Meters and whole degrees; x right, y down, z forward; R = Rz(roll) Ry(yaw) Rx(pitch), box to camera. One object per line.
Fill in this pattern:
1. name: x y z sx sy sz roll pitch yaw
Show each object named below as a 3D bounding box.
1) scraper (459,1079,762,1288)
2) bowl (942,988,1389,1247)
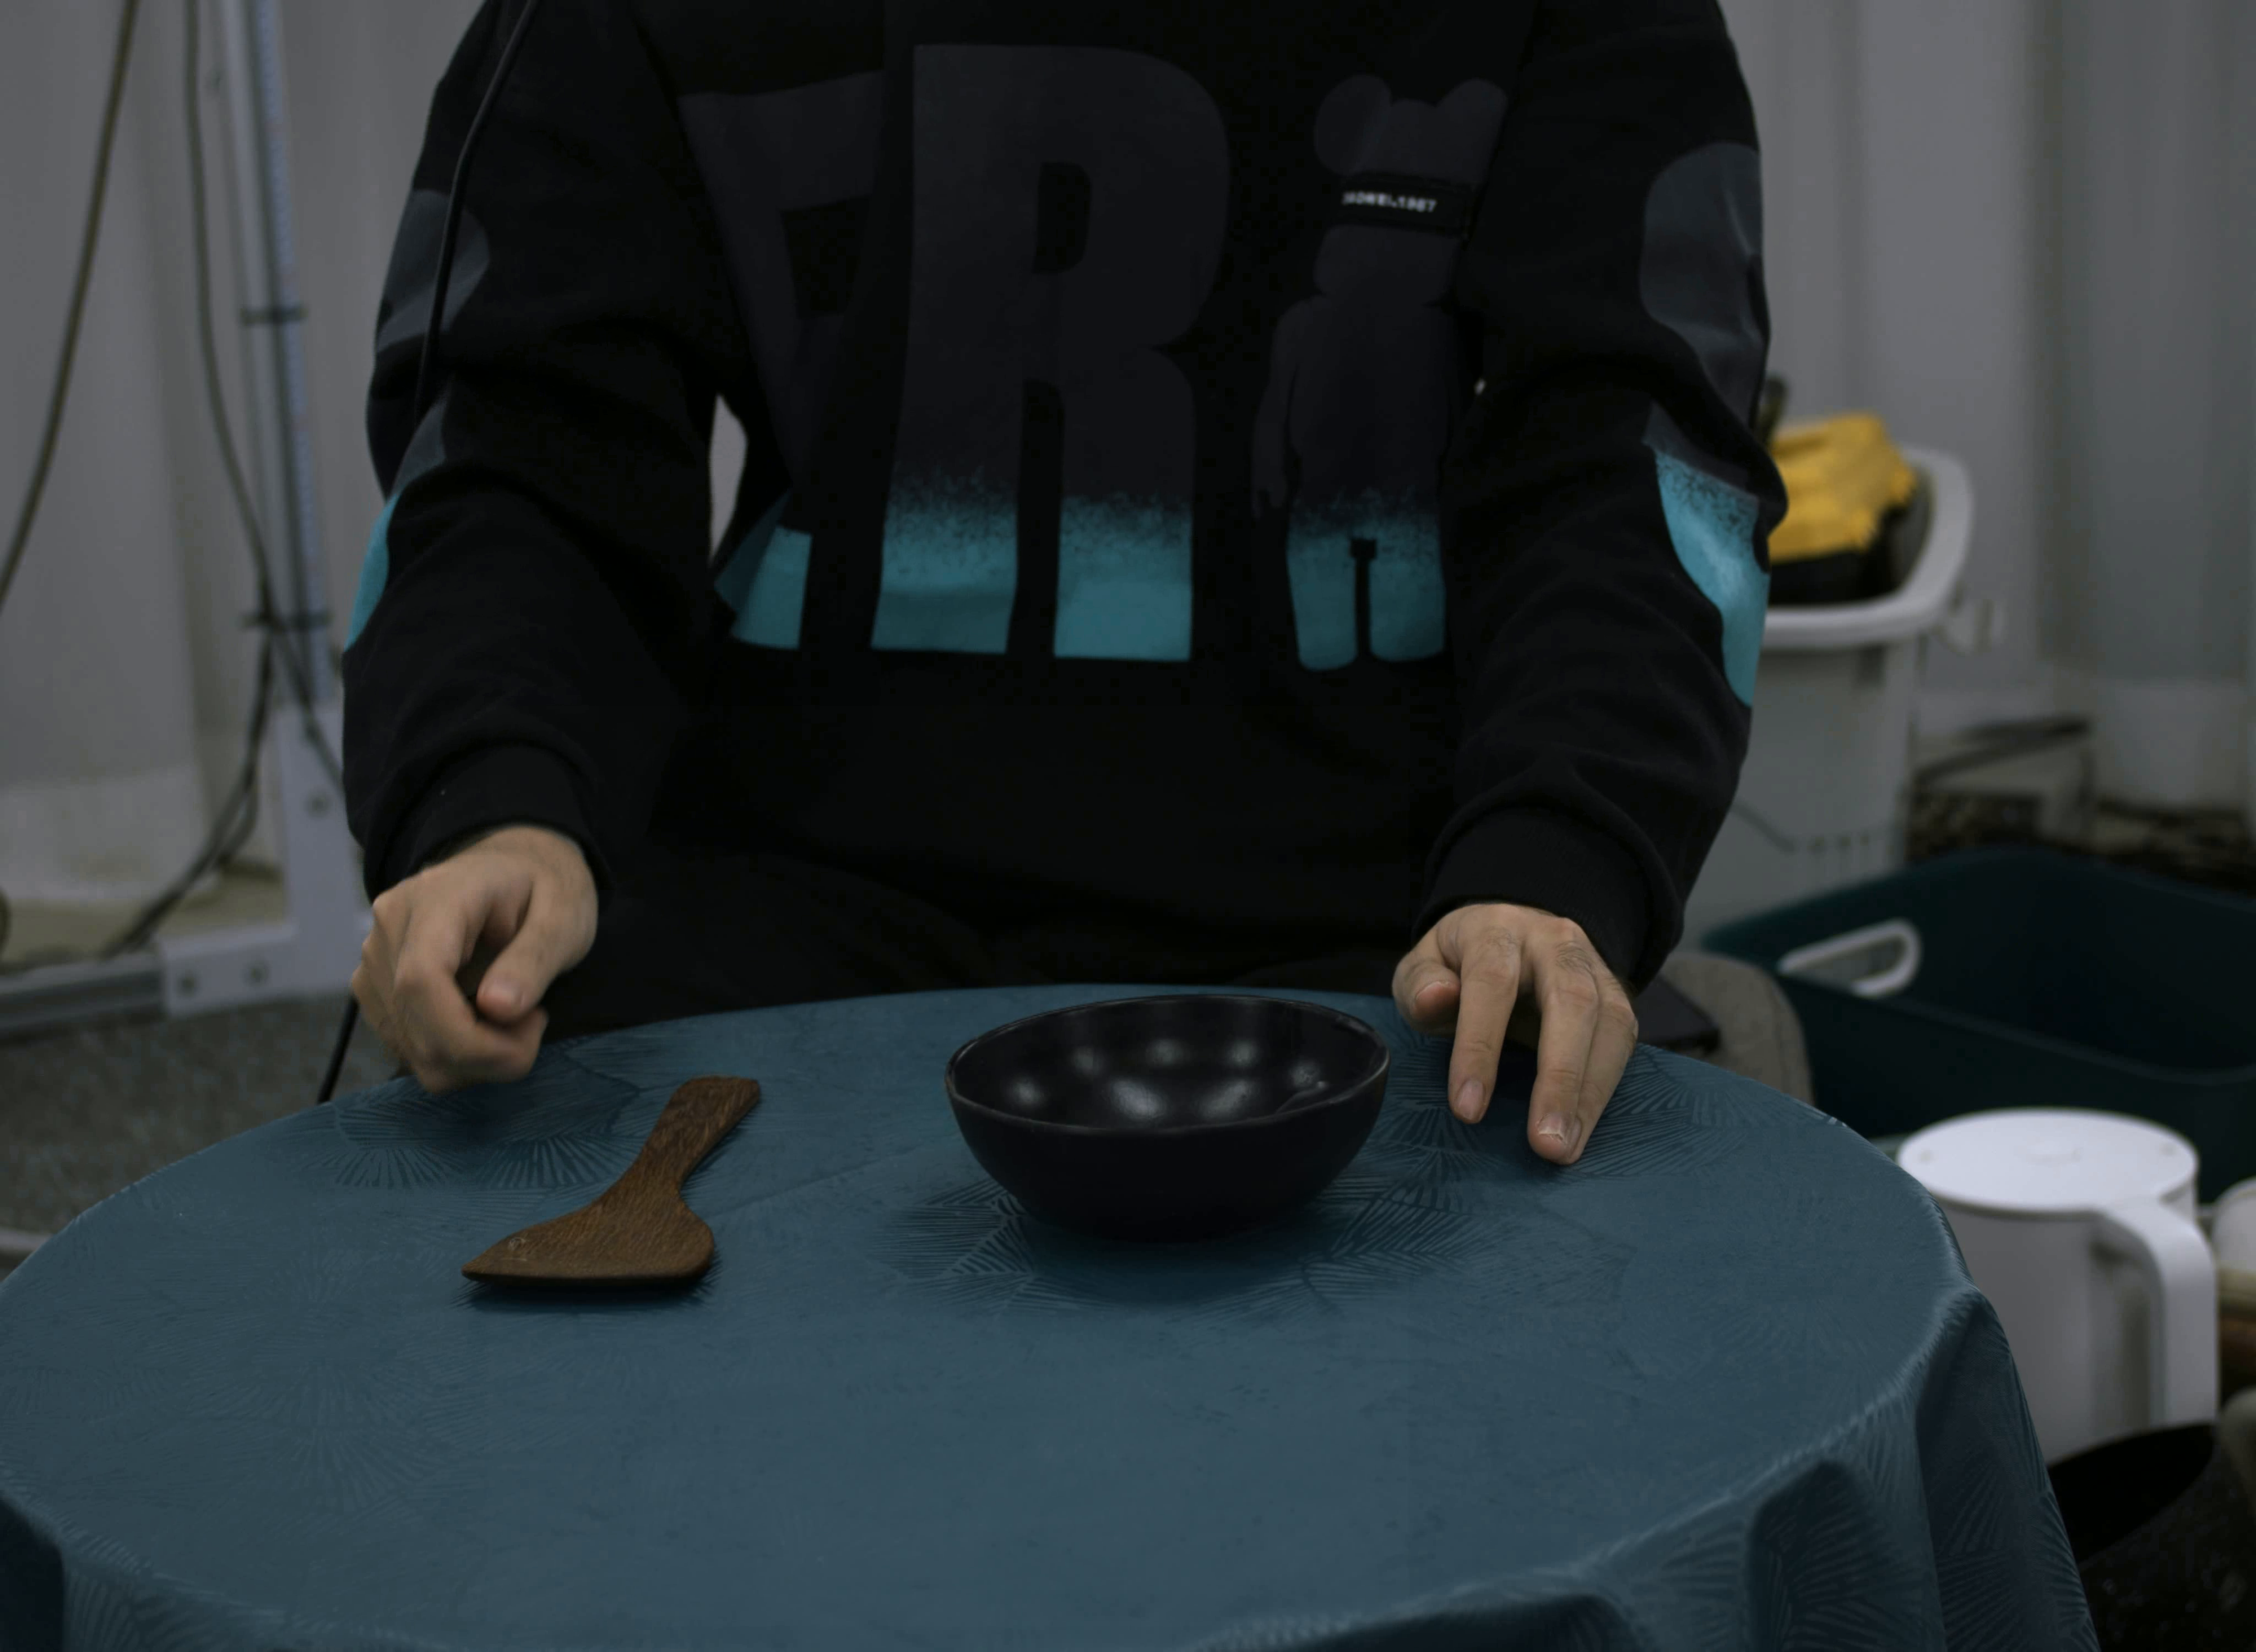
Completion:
1. scraper: -0.151 0.113 1.734 0.076 0.011 0.212 1 15 9
2. bowl: 0.014 0.095 1.690 0.139 0.049 0.141 -5 16 1
